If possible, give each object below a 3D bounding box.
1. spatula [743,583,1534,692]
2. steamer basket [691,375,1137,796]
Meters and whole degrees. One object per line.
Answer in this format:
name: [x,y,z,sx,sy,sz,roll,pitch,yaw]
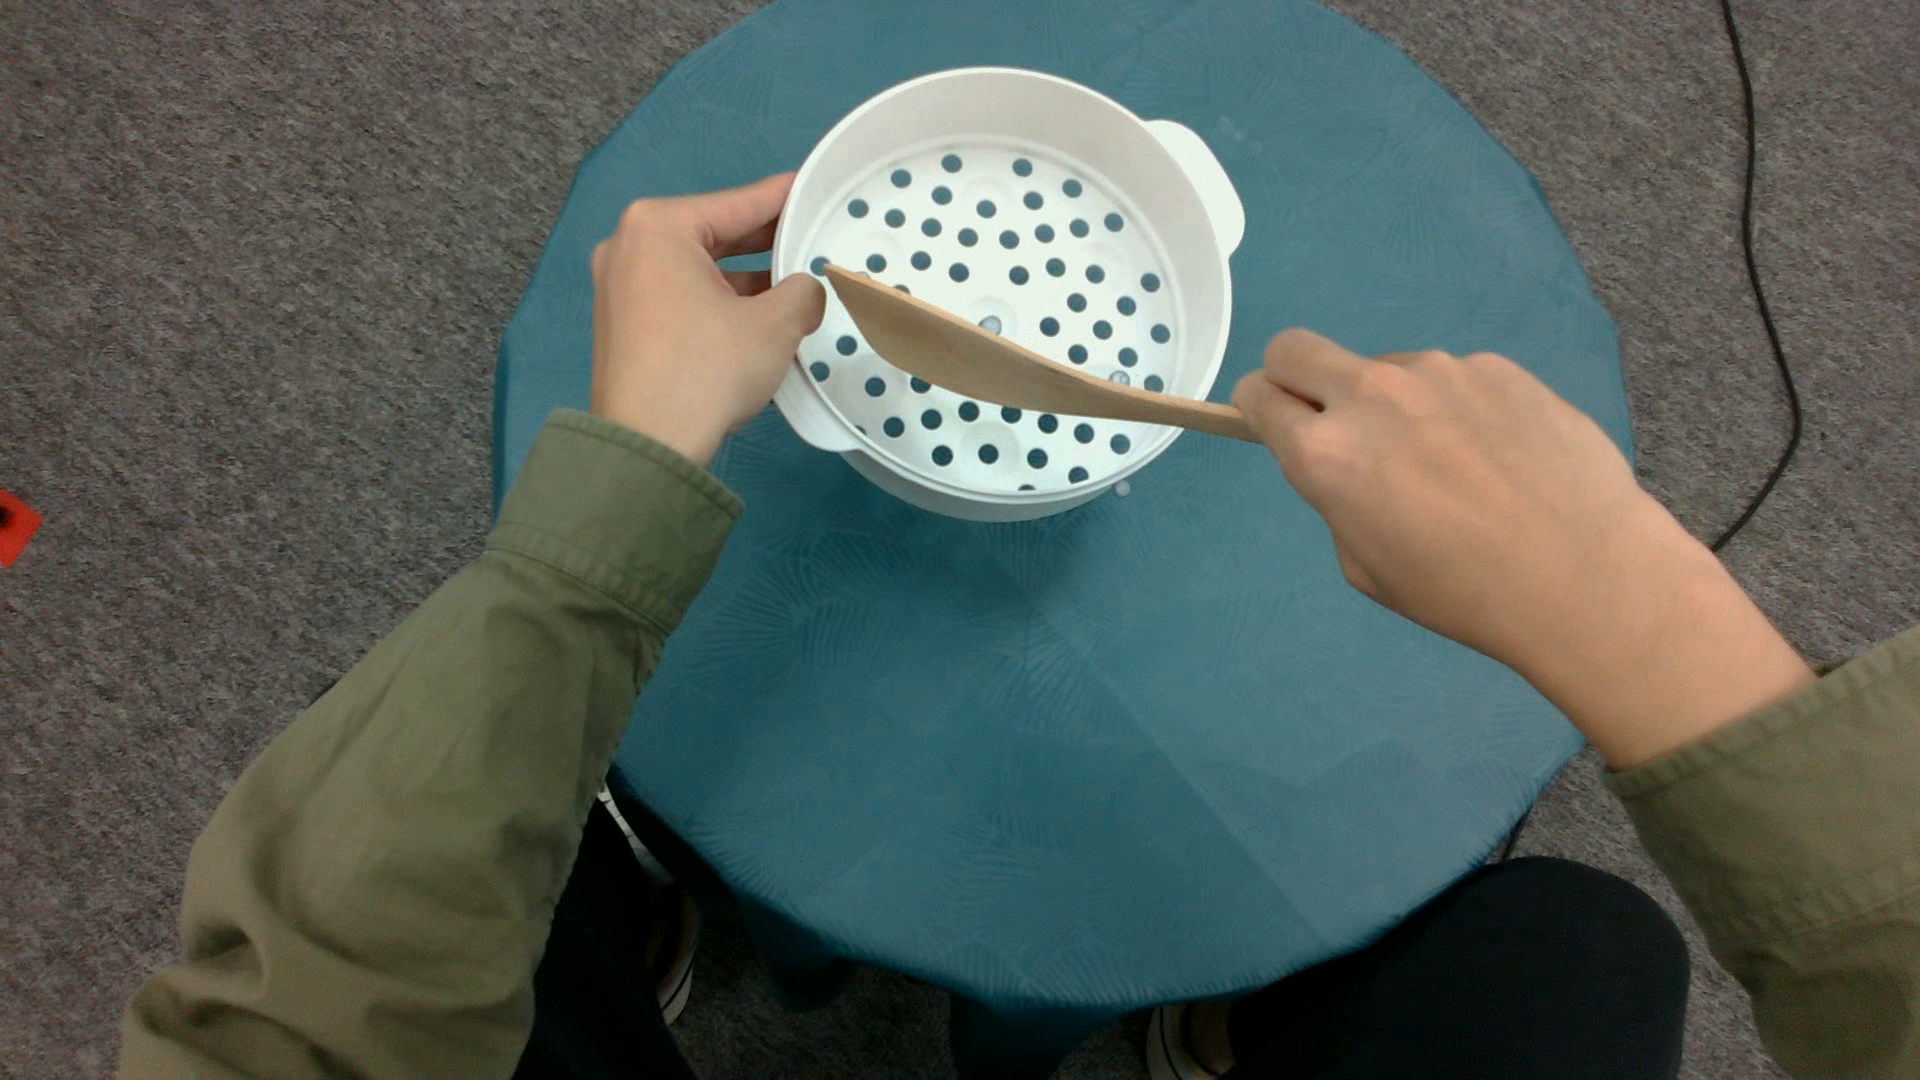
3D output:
spatula: [0.049,0.041,0.539,0.327,0.080,0.016,-1,59,31]
steamer basket: [-0.019,0.022,0.660,0.231,0.069,0.202,-36,72,-18]
